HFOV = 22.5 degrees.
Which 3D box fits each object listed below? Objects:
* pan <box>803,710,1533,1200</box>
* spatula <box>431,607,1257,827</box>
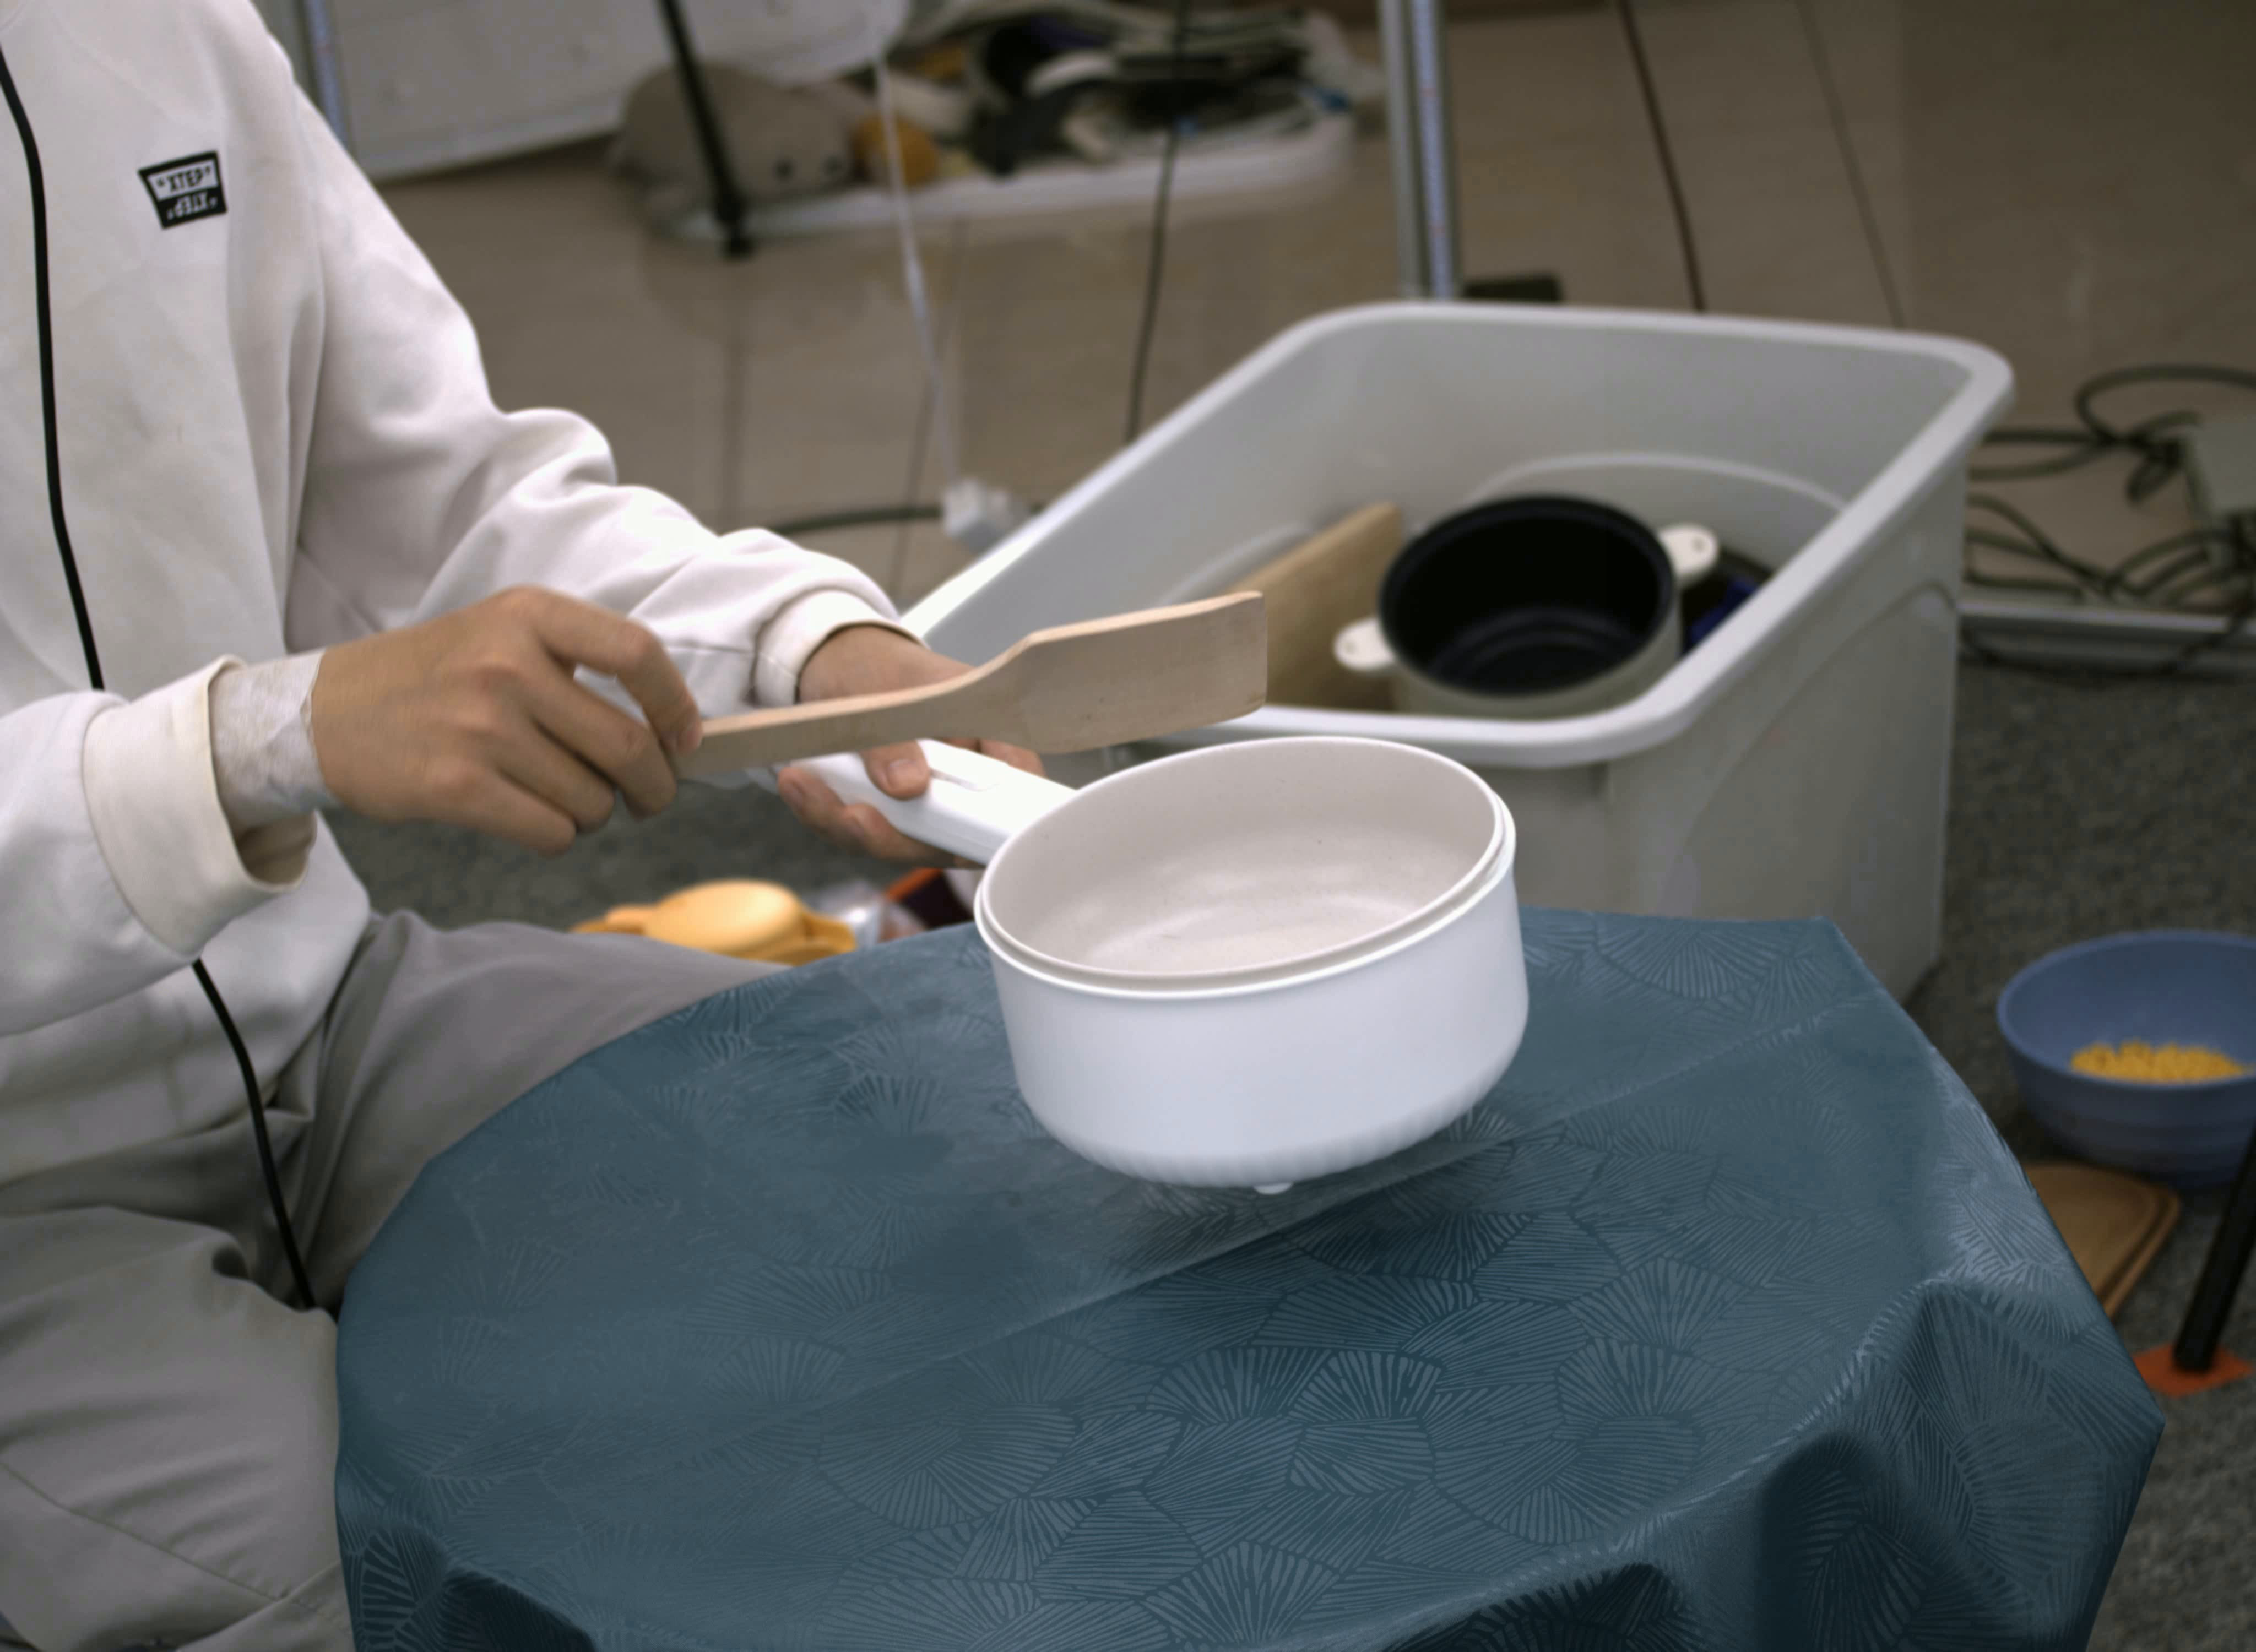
[{"bbox_3d":[0.002,0.039,2.160,0.199,0.104,0.352,-29,31,-32],"label":"pan"},{"bbox_3d":[-0.098,-0.032,1.975,0.292,0.073,0.010,-10,59,-3],"label":"spatula"}]
